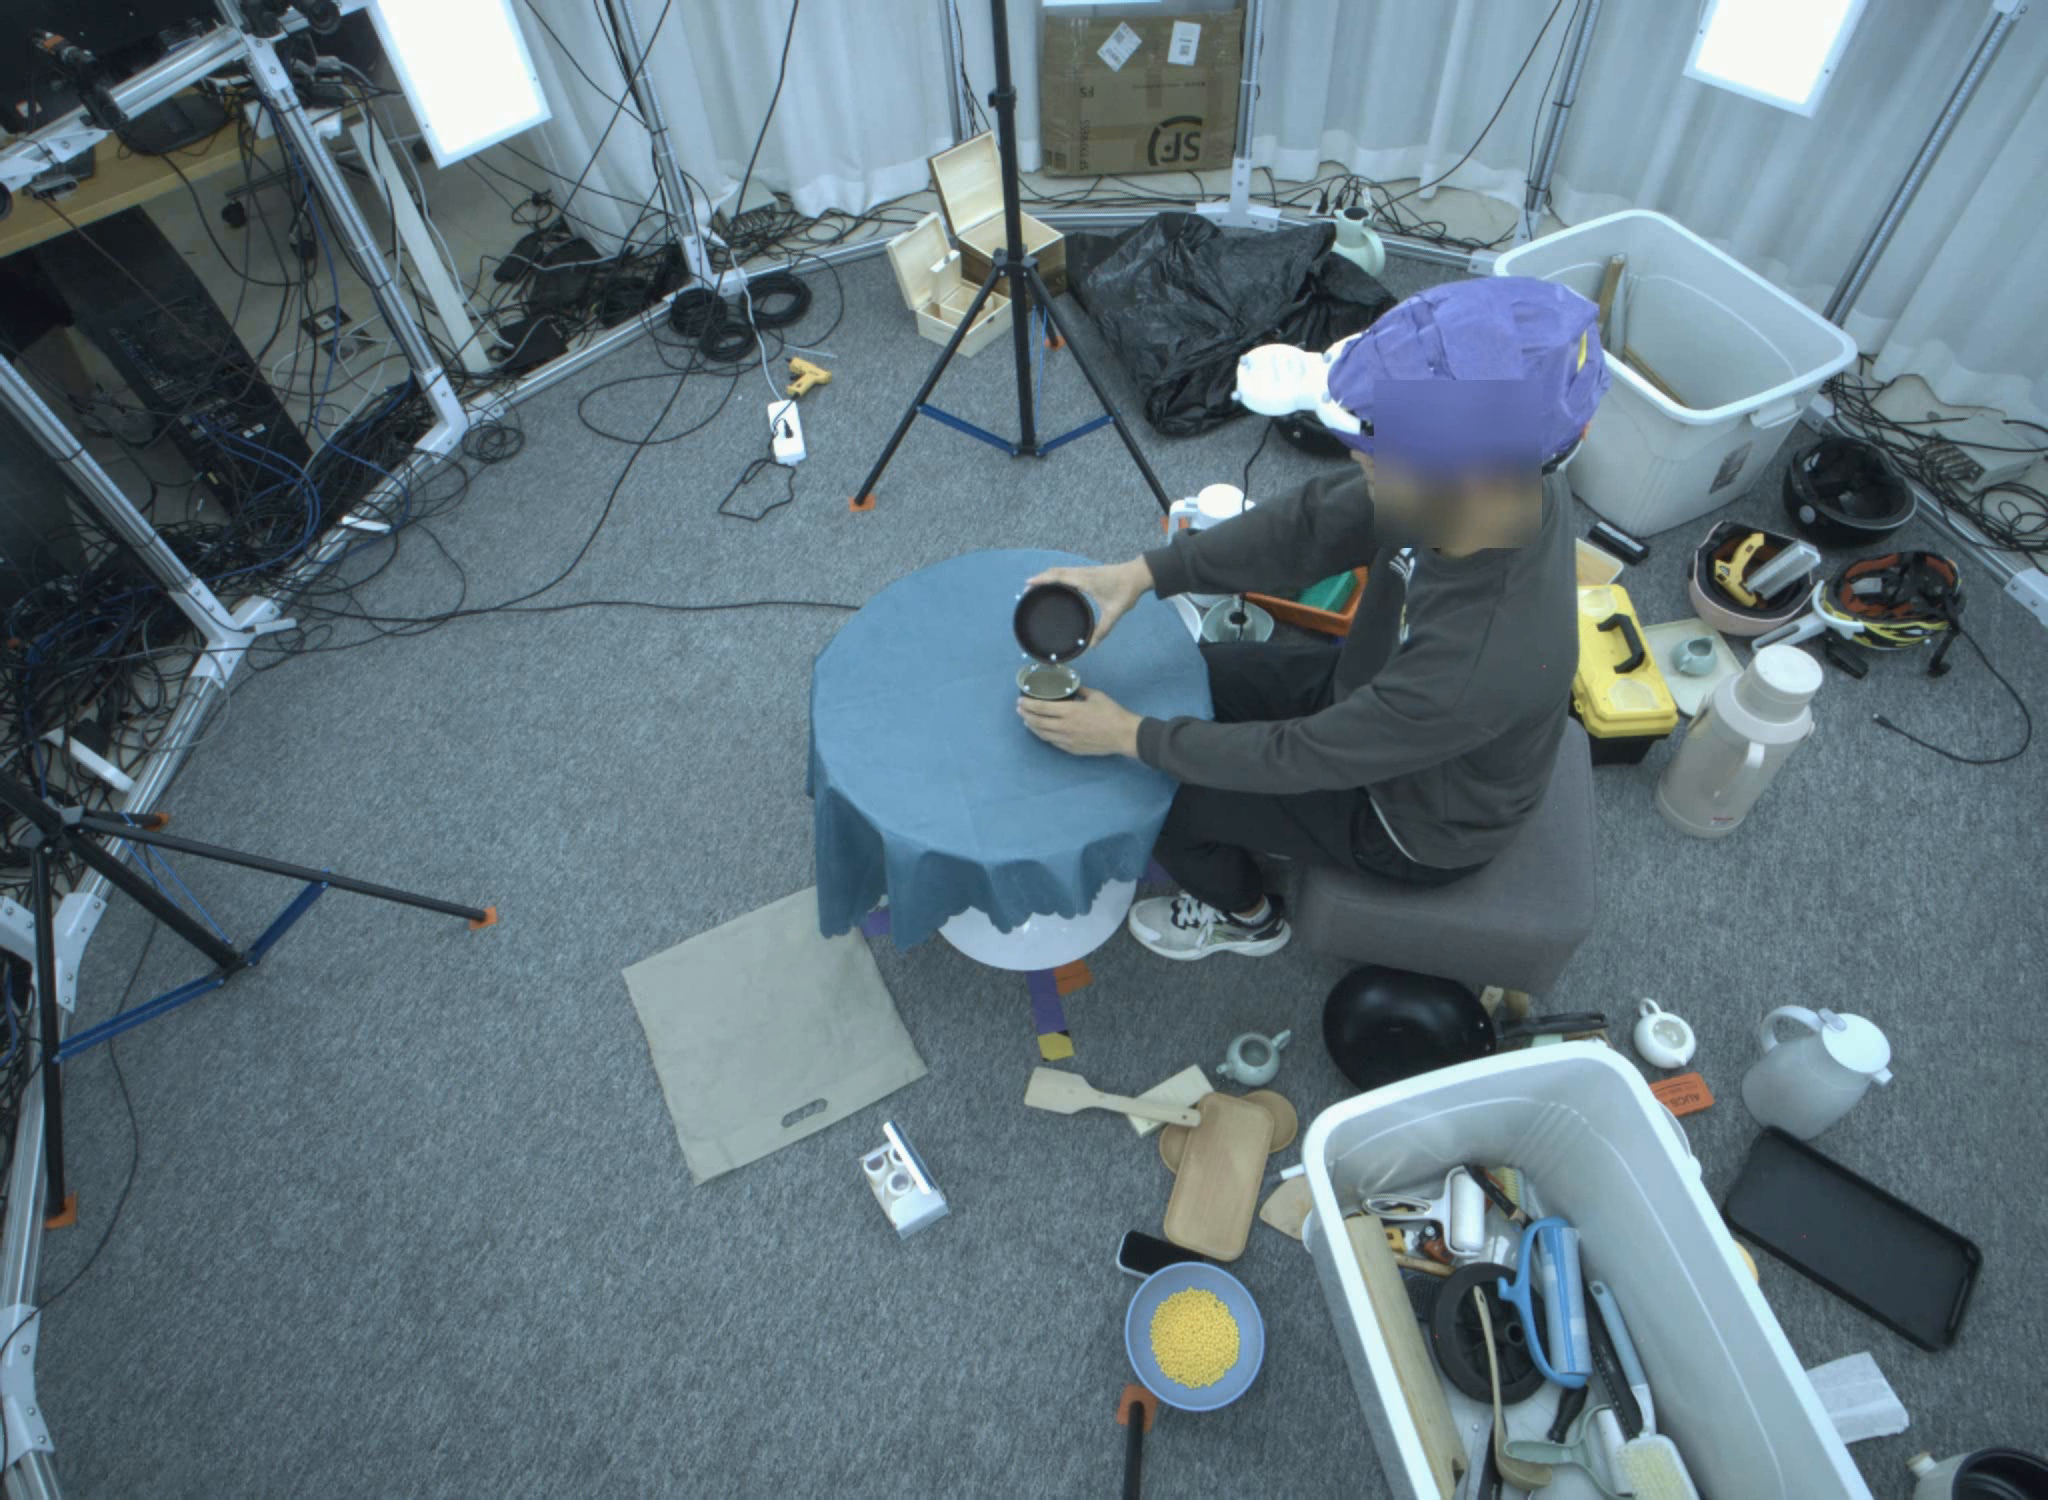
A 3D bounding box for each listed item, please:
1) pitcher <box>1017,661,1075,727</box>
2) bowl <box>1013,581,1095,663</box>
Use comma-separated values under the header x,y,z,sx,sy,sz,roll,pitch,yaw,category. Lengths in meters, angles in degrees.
x,y,z,sx,sy,sz,roll,pitch,yaw,category
0.034,-0.078,1.789,0.083,0.072,0.096,9,39,14,pitcher
0.045,-0.184,1.778,0.117,0.070,0.118,0,94,5,bowl
